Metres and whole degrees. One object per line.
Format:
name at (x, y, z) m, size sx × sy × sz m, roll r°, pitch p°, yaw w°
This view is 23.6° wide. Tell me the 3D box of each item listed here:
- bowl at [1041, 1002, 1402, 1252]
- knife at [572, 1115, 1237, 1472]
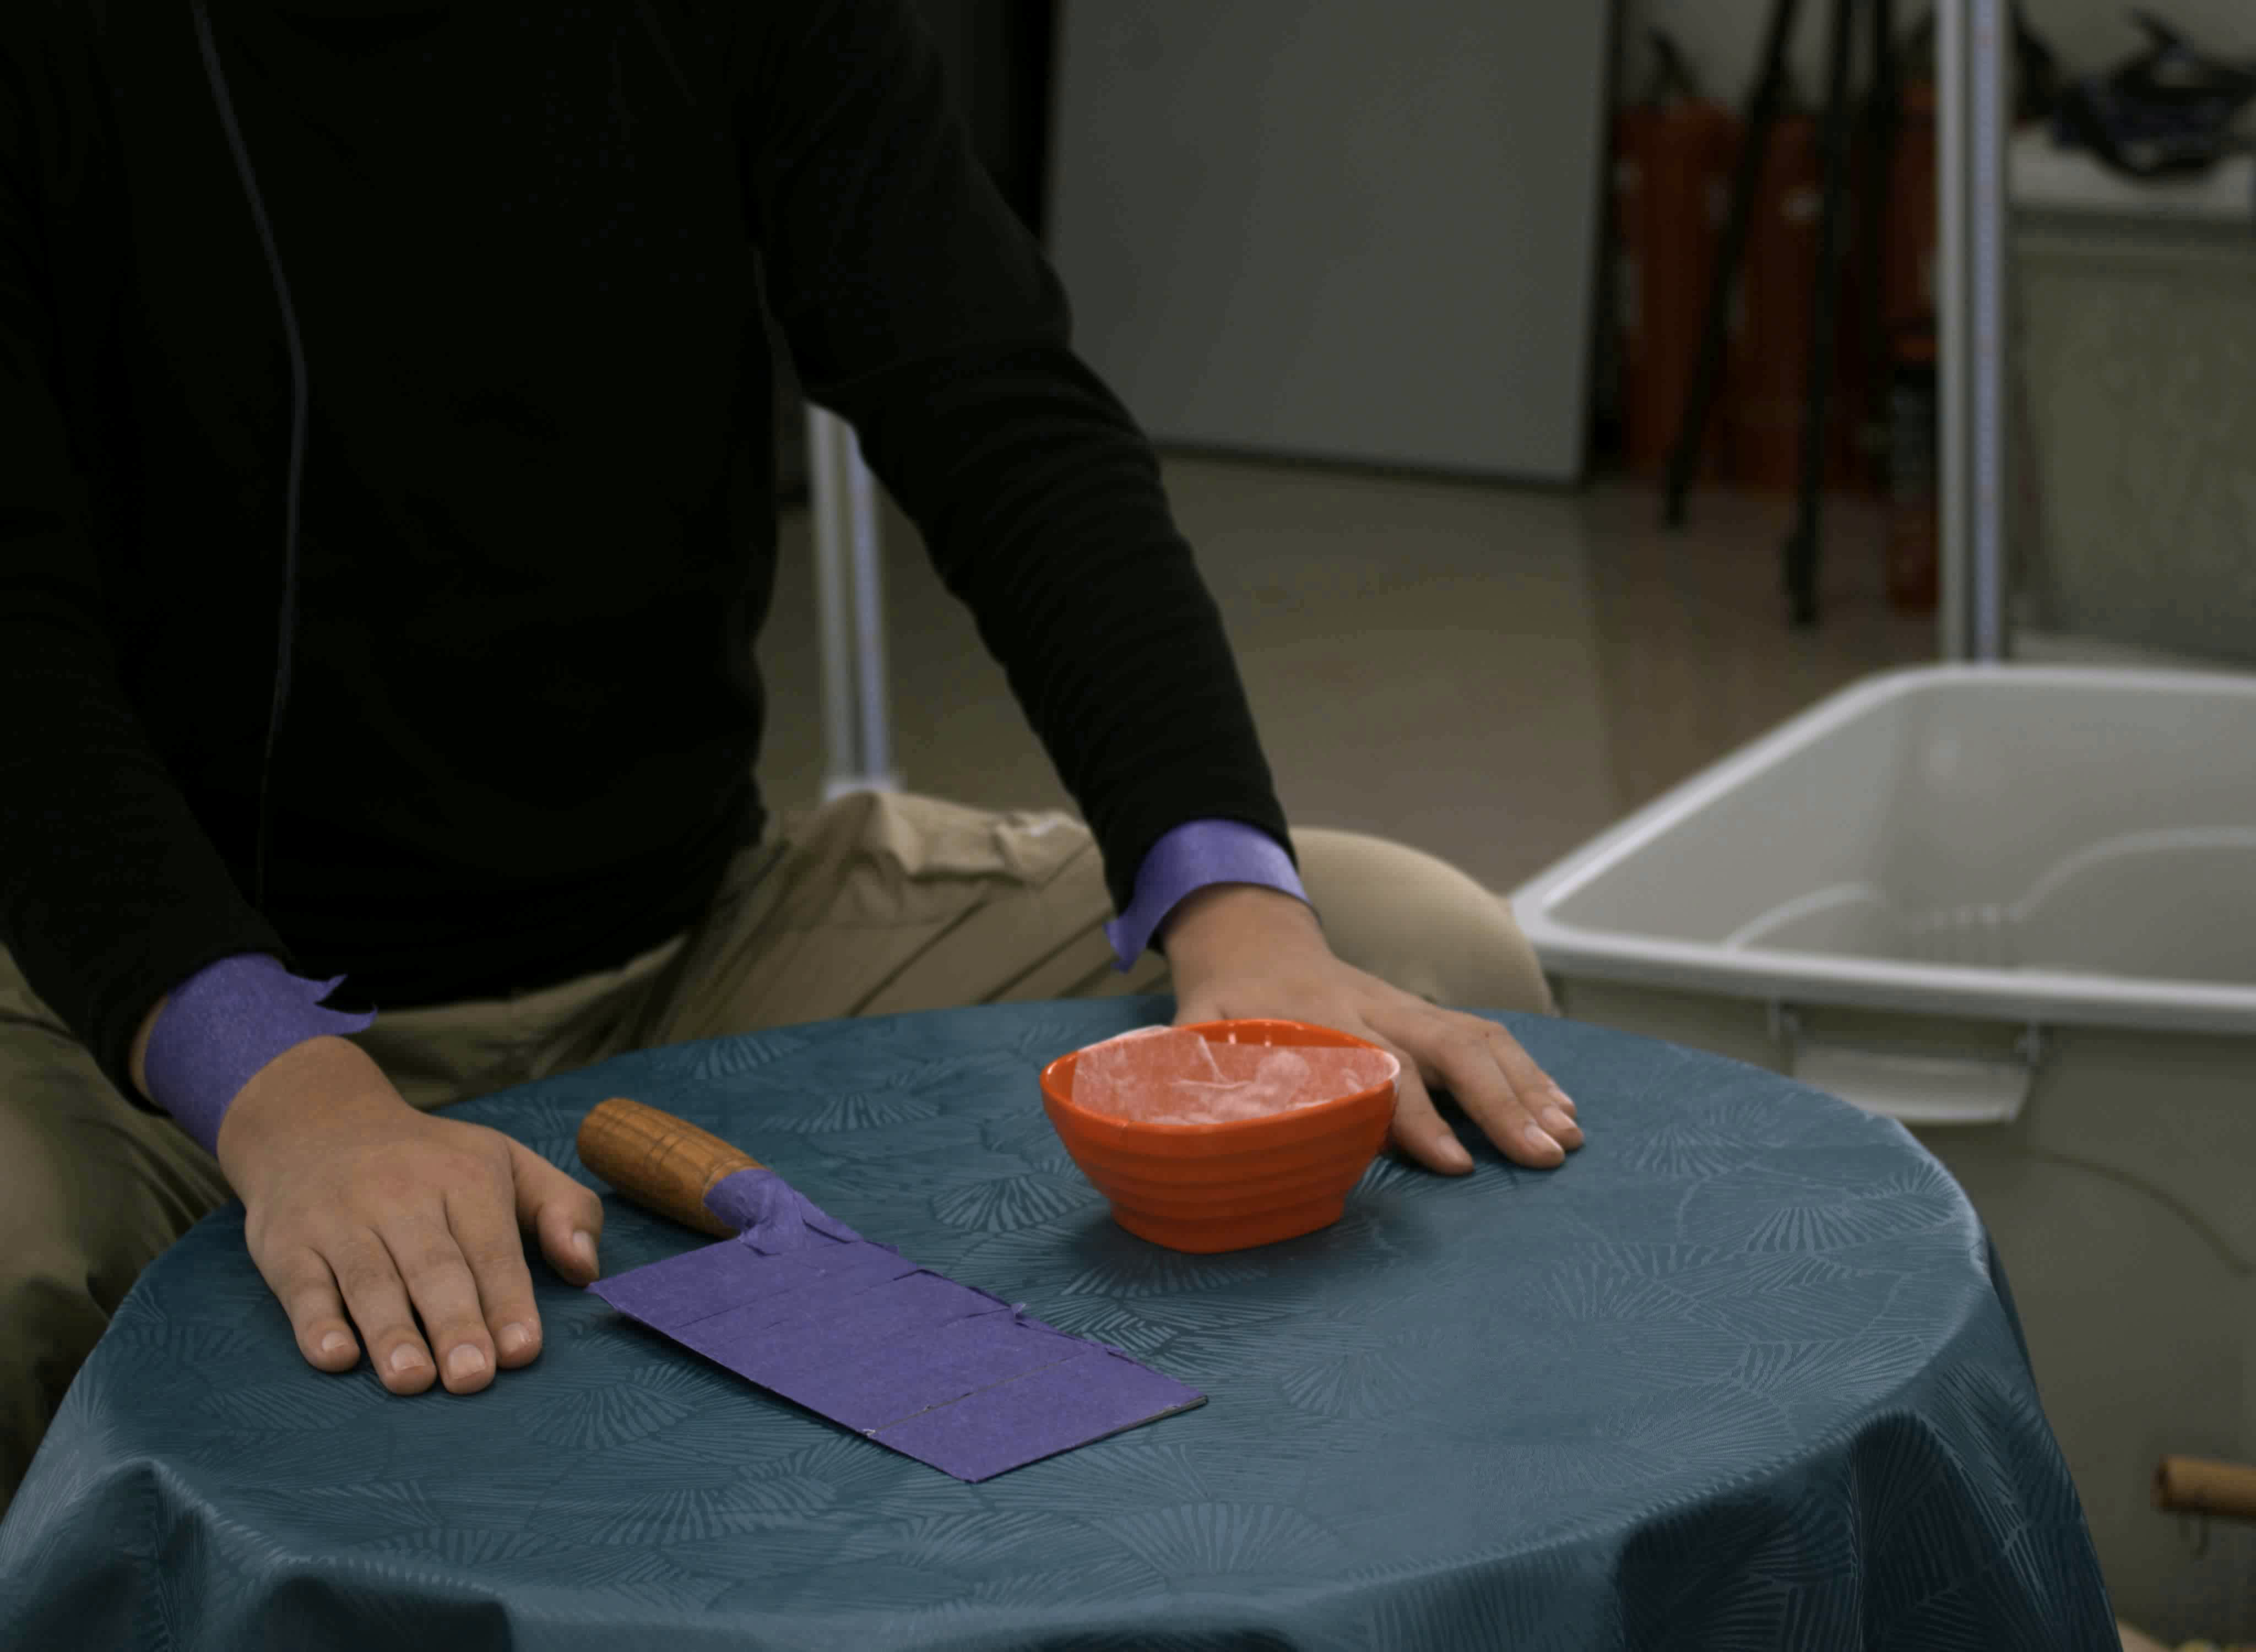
bowl at (0.031, 0.099, 1.735) m, size 0.117 × 0.052 × 0.119 m, roll -4°, pitch 17°, yaw 0°
knife at (-0.101, 0.142, 1.668) m, size 0.101 × 0.032 × 0.318 m, roll -14°, pitch 17°, yaw -35°
